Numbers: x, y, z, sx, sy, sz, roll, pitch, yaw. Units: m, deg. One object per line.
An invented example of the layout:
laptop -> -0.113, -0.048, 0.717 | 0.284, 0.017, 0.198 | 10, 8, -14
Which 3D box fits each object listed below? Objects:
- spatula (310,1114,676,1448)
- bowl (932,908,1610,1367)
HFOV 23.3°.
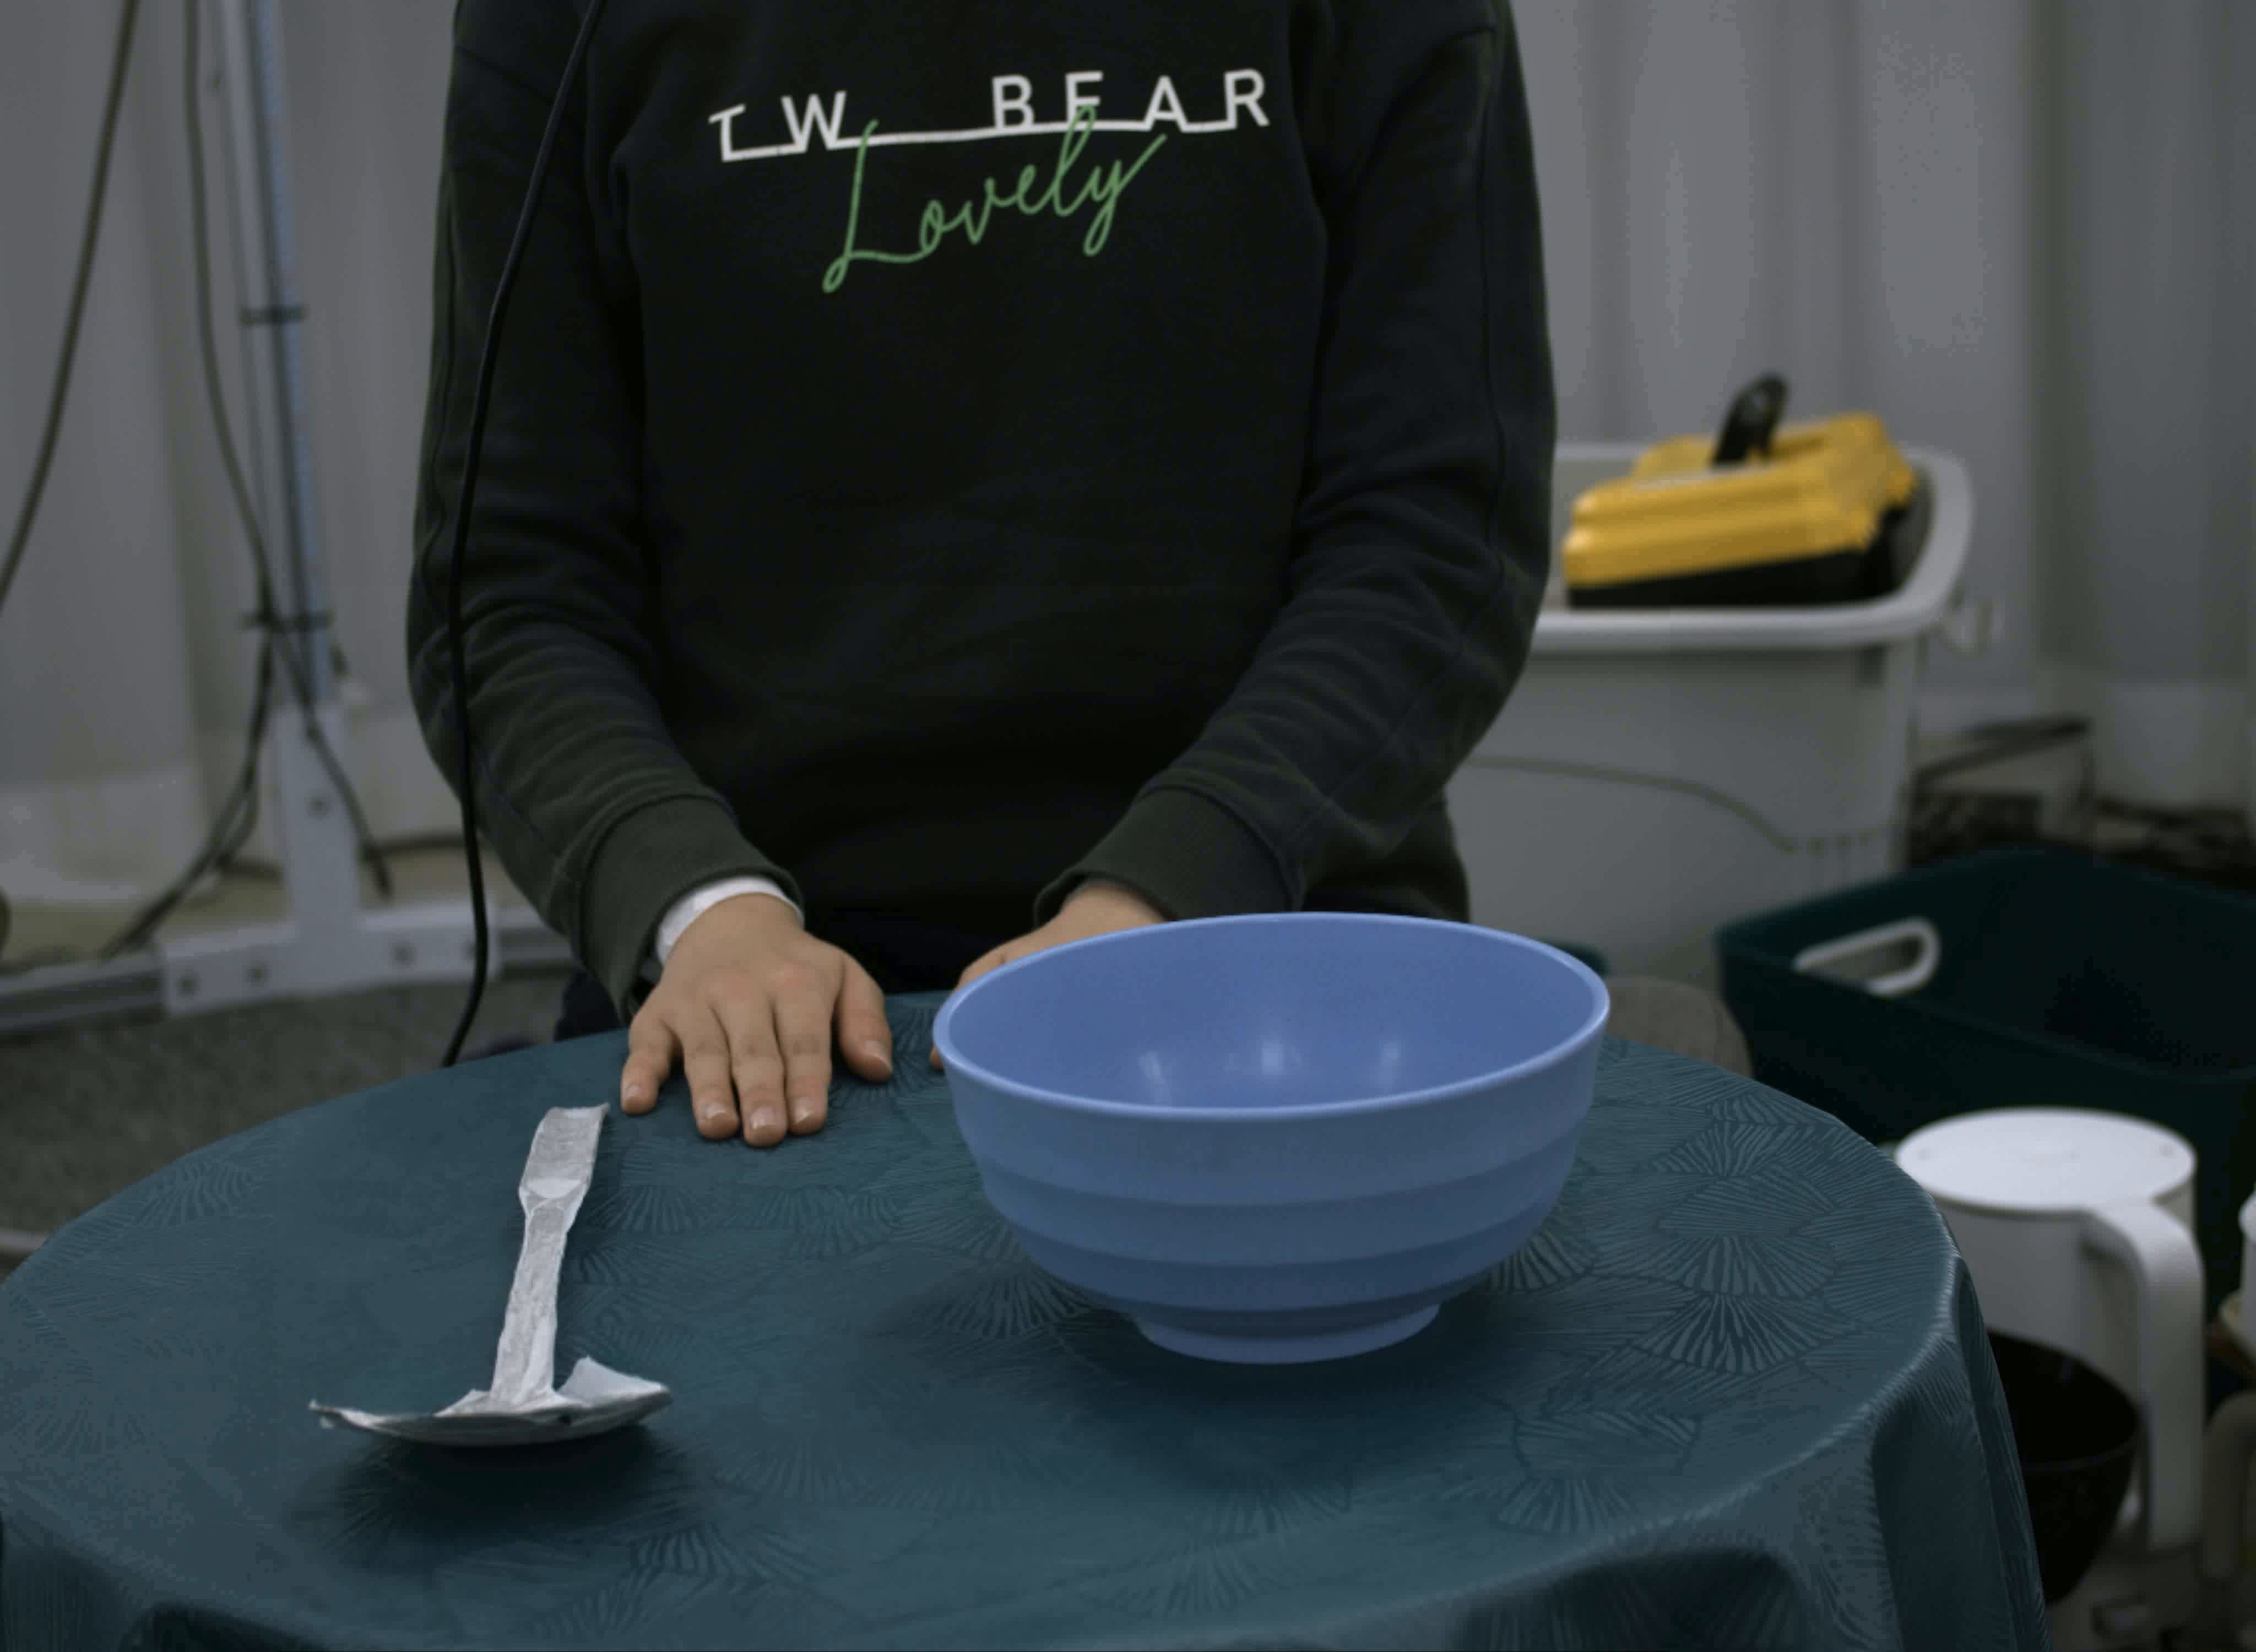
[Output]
spatula -> -0.172, 0.126, 1.629 | 0.098, 0.044, 0.367 | -5, 15, 1
bowl -> 0.044, 0.097, 1.590 | 0.196, 0.095, 0.198 | -4, 16, 1
